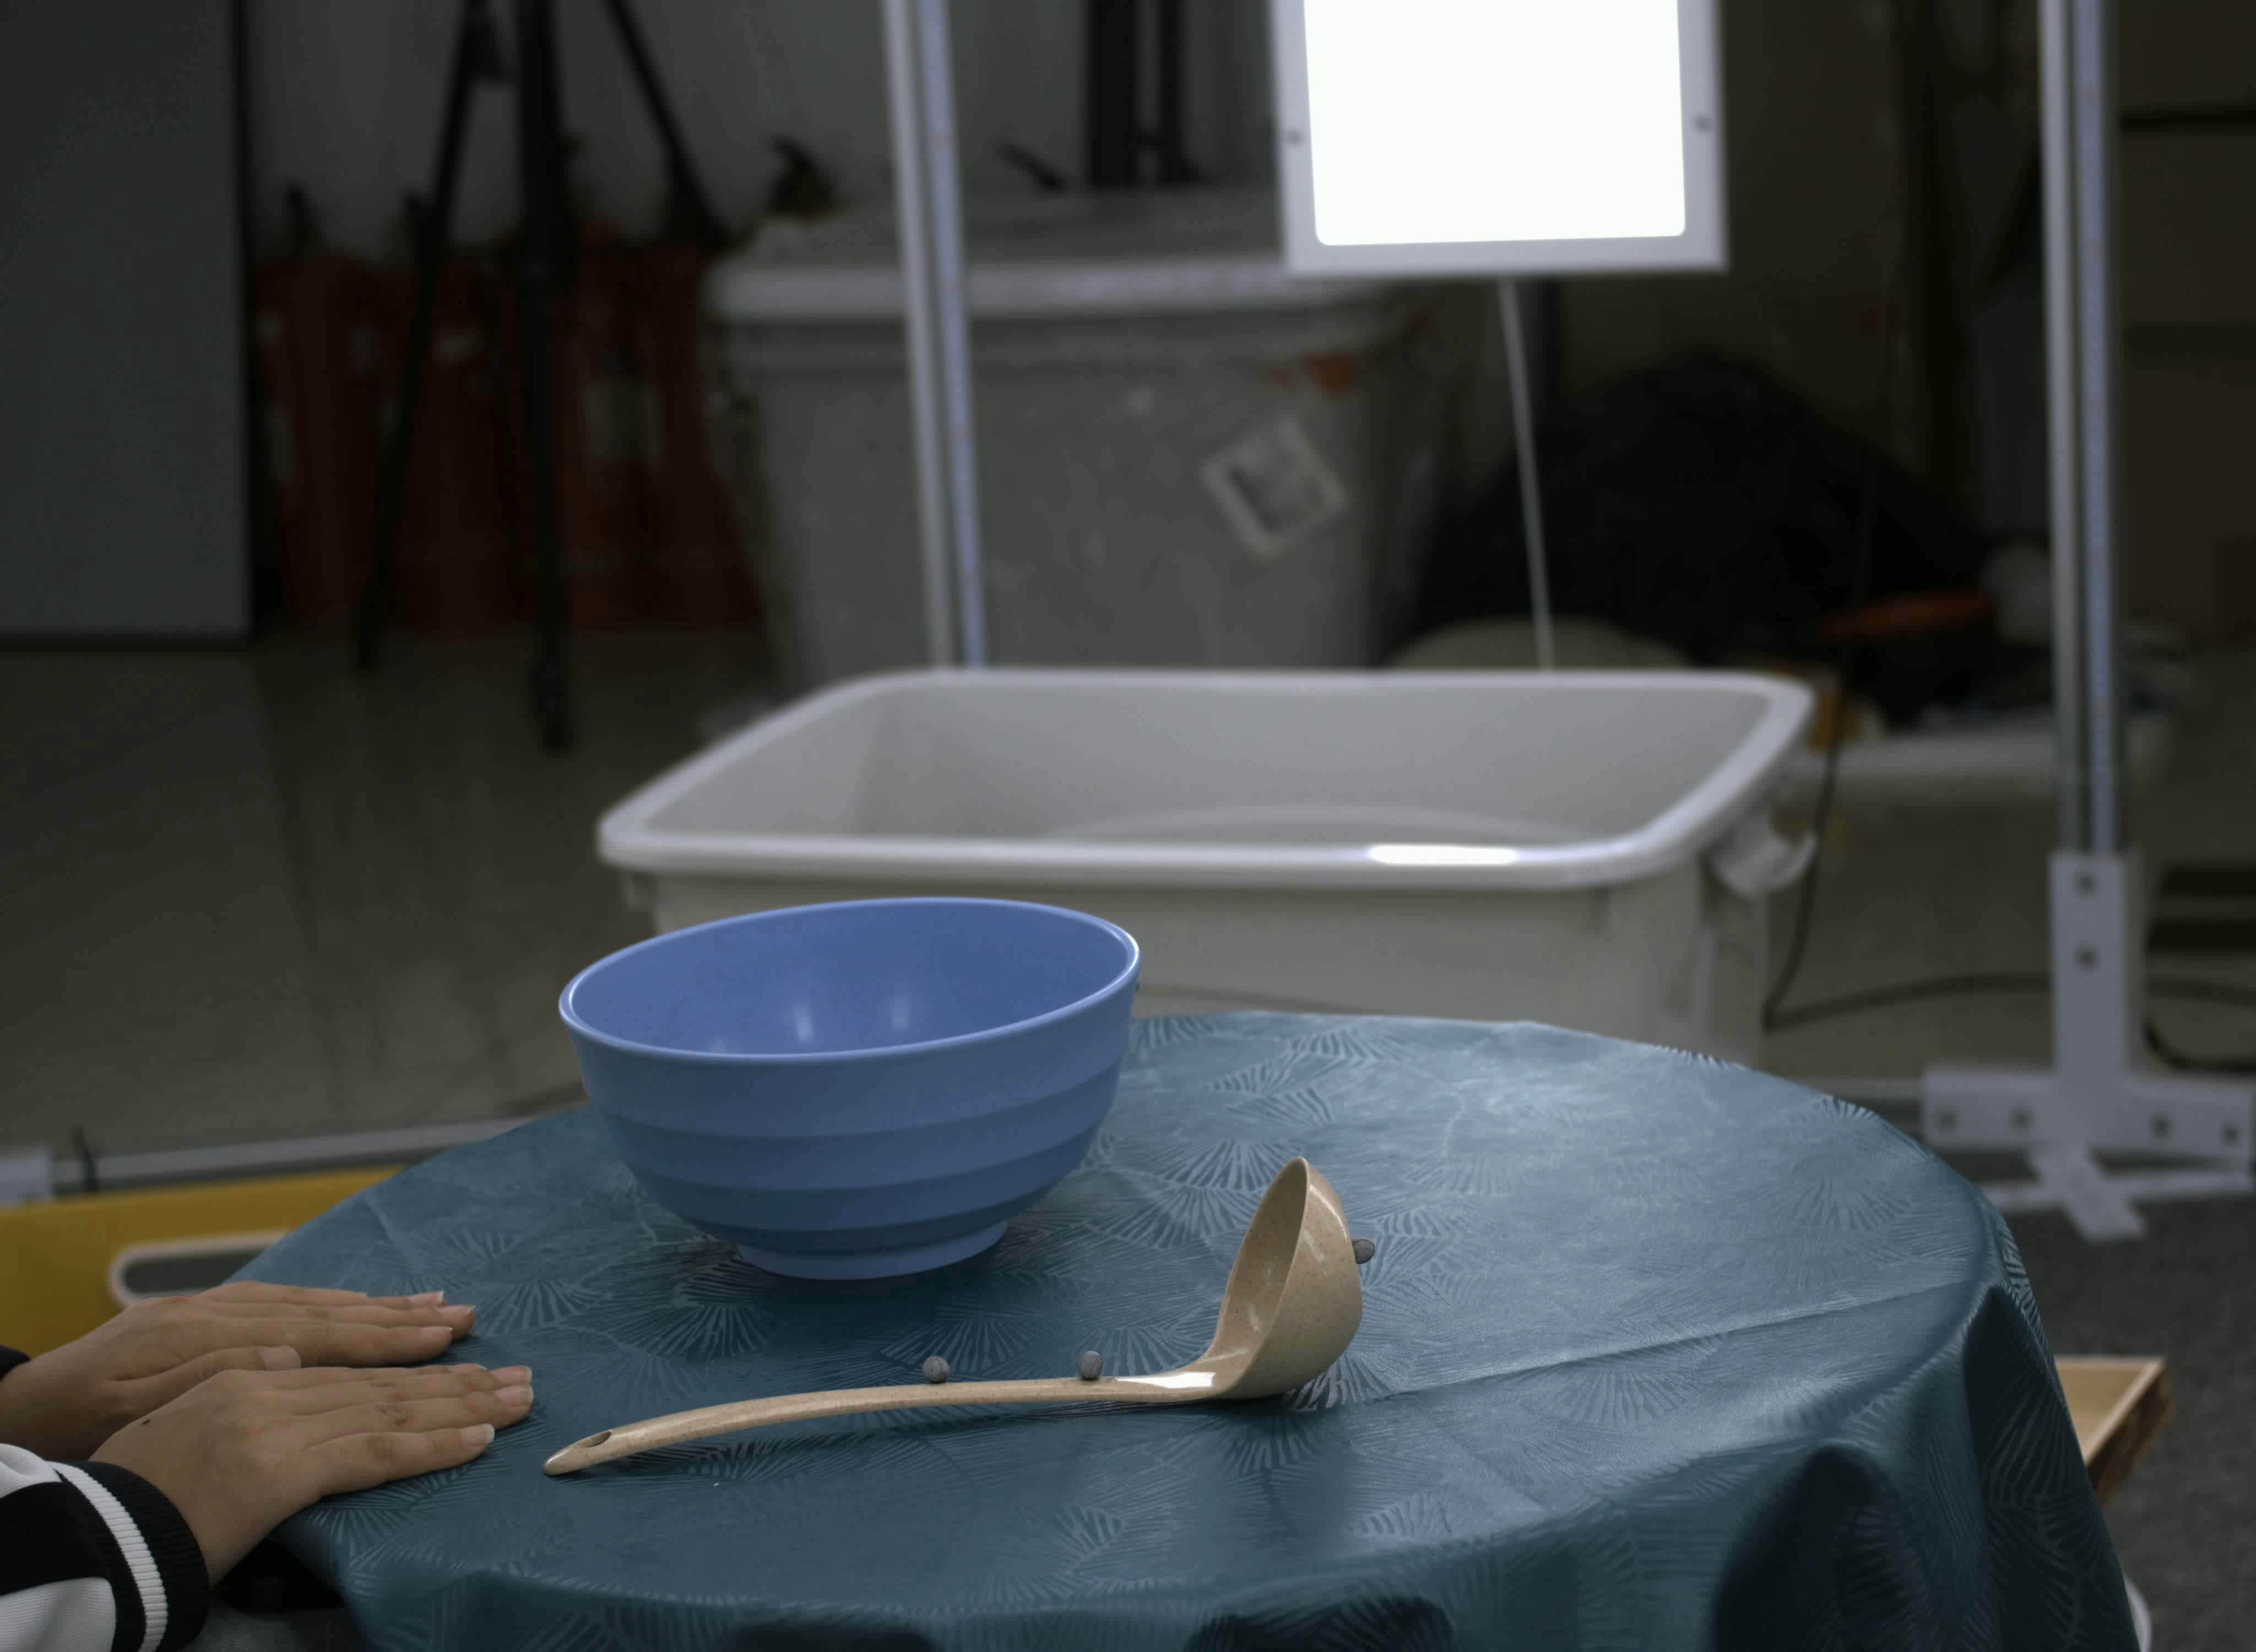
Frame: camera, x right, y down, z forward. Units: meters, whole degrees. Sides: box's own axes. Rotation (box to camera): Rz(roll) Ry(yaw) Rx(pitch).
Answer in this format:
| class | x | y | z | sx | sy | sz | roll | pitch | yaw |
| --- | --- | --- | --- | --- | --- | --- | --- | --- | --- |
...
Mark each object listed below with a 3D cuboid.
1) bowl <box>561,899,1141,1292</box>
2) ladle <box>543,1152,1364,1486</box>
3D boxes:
| class | x | y | z | sx | sy | sz | roll | pitch | yaw |
| --- | --- | --- | --- | --- | --- | --- | --- | --- | --- |
| bowl | -0.090 | 0.098 | 1.864 | 0.196 | 0.096 | 0.196 | -5 | 15 | 0 |
| ladle | -0.055 | 0.149 | 1.675 | 0.252 | 0.073 | 0.072 | -6 | 13 | -6 |
